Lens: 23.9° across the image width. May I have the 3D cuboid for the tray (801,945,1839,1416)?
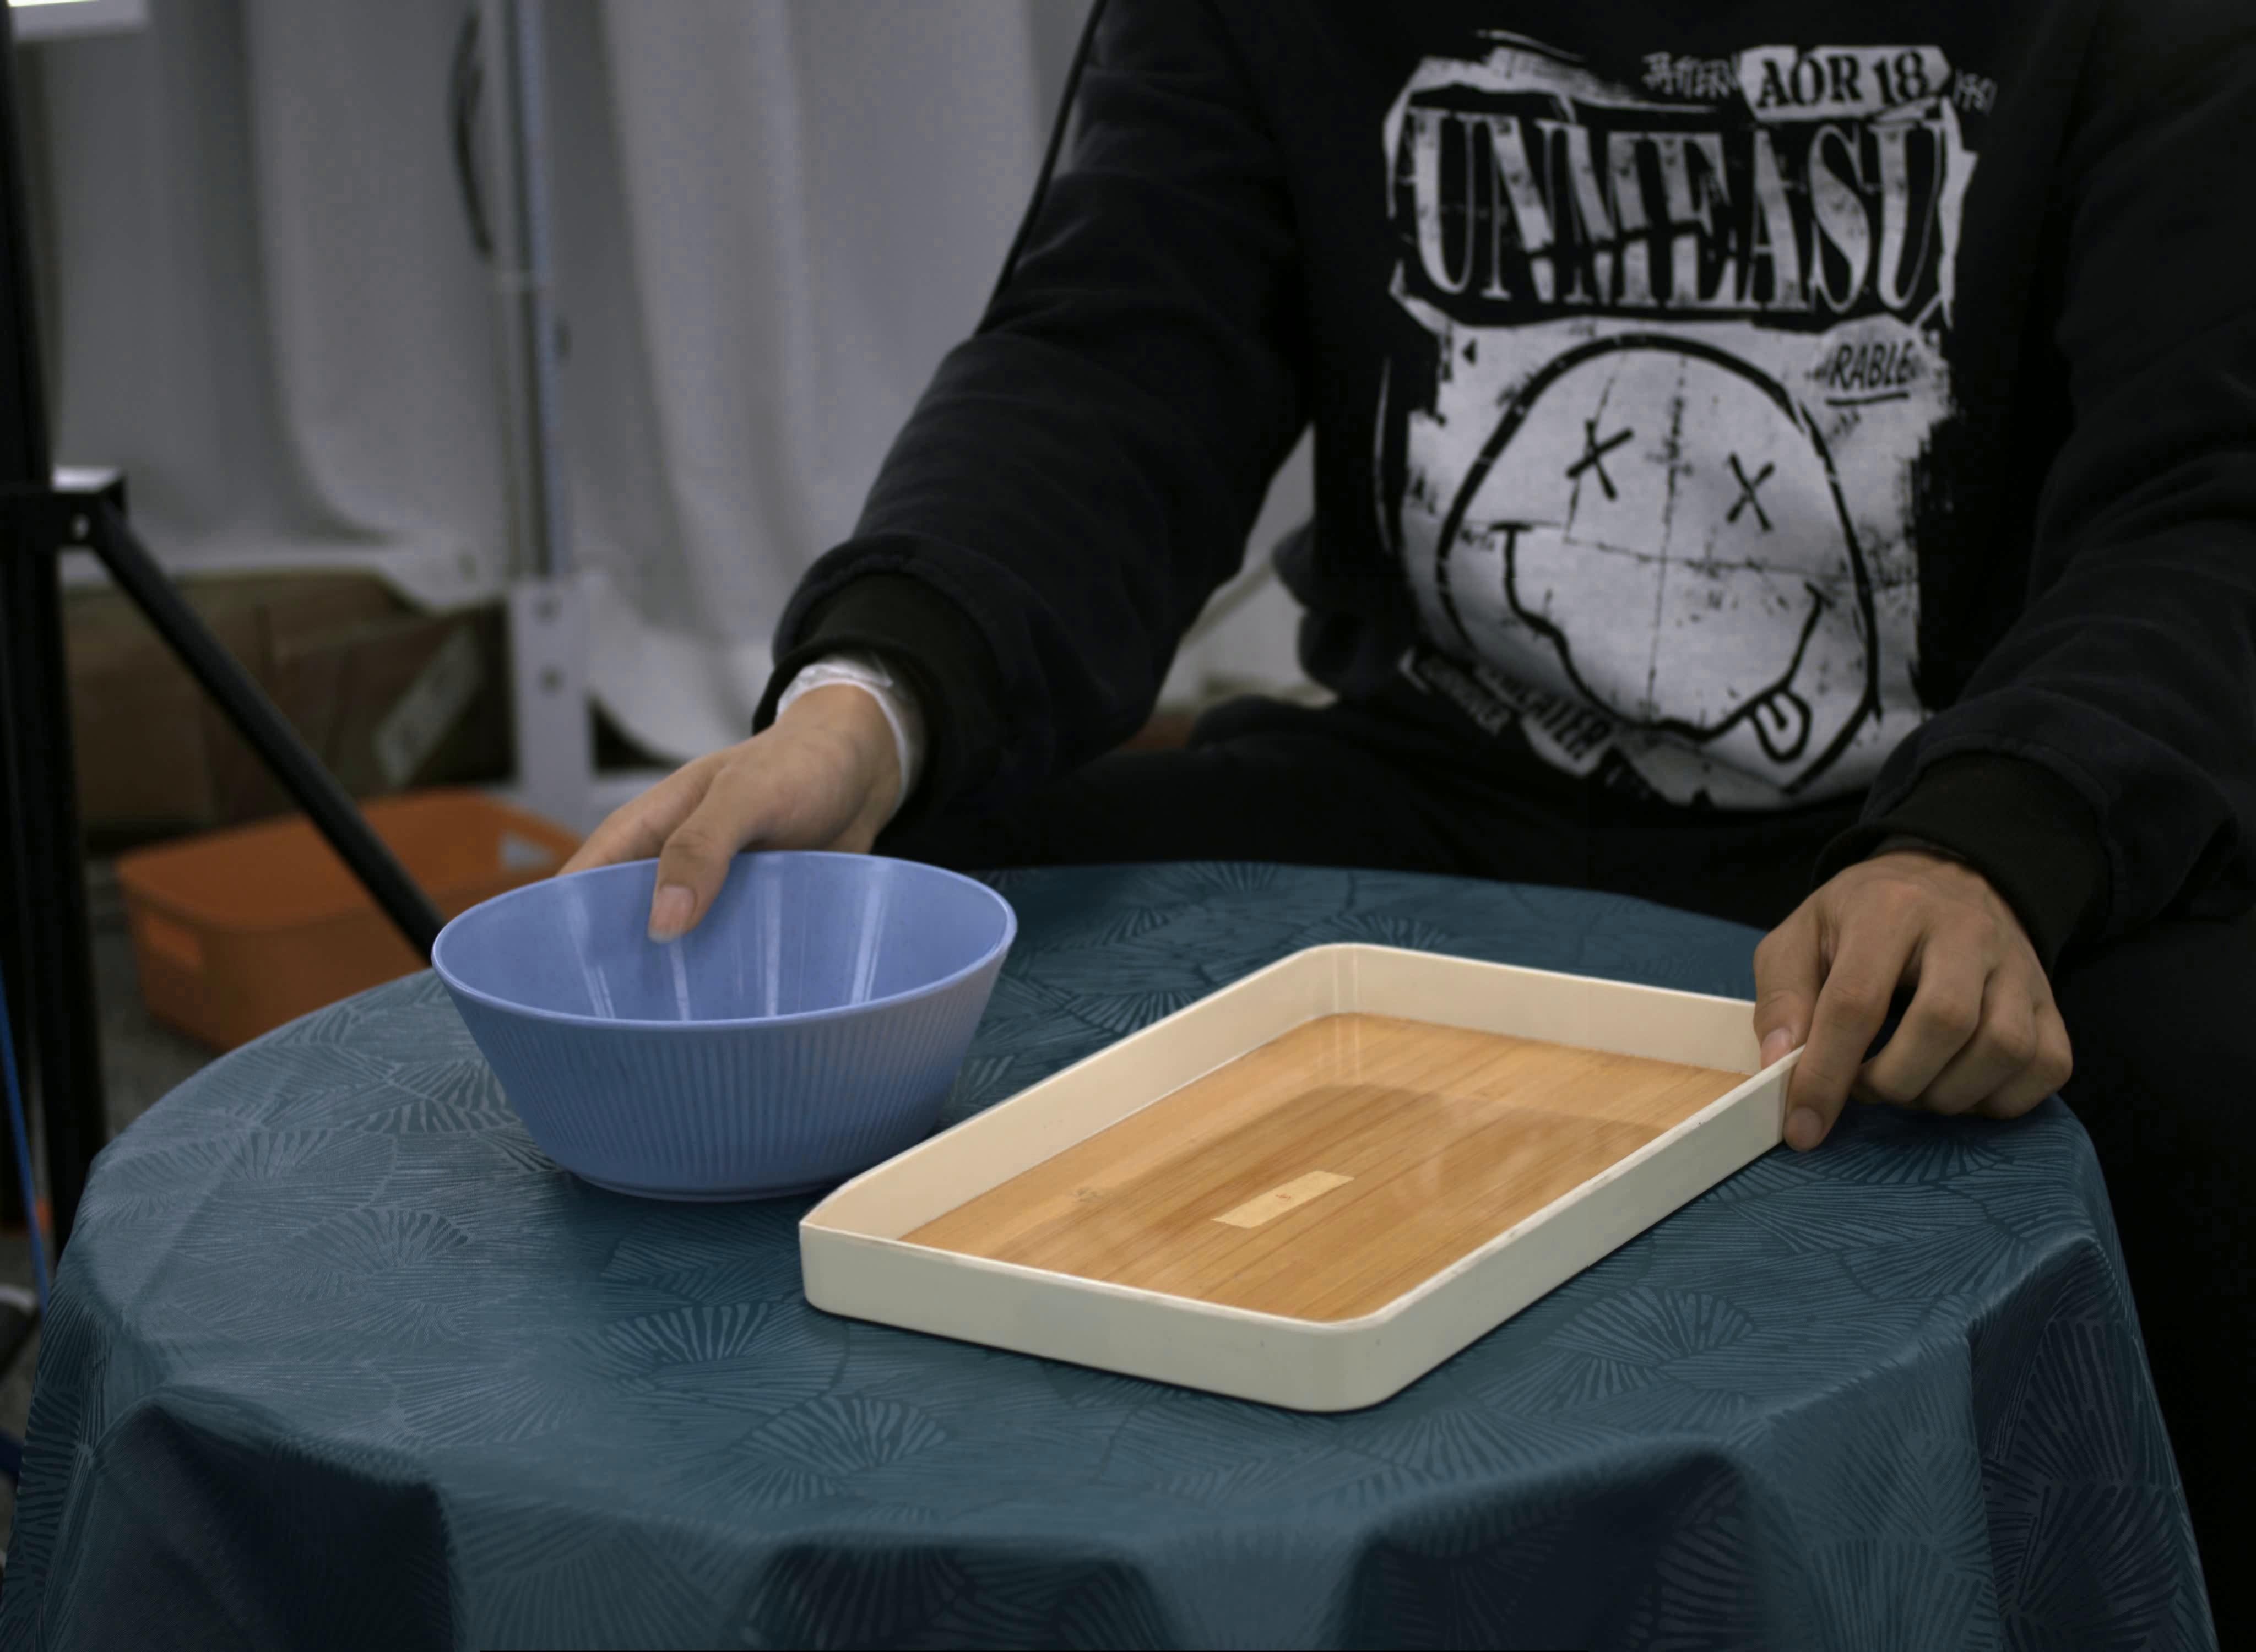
[{"bbox_3d":[0.062,0.097,1.539,0.195,0.027,0.294,8,19,33],"label":"tray"}]

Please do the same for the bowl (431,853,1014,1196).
[{"bbox_3d":[-0.121,0.062,1.610,0.175,0.070,0.177,-2,16,-1],"label":"bowl"}]
